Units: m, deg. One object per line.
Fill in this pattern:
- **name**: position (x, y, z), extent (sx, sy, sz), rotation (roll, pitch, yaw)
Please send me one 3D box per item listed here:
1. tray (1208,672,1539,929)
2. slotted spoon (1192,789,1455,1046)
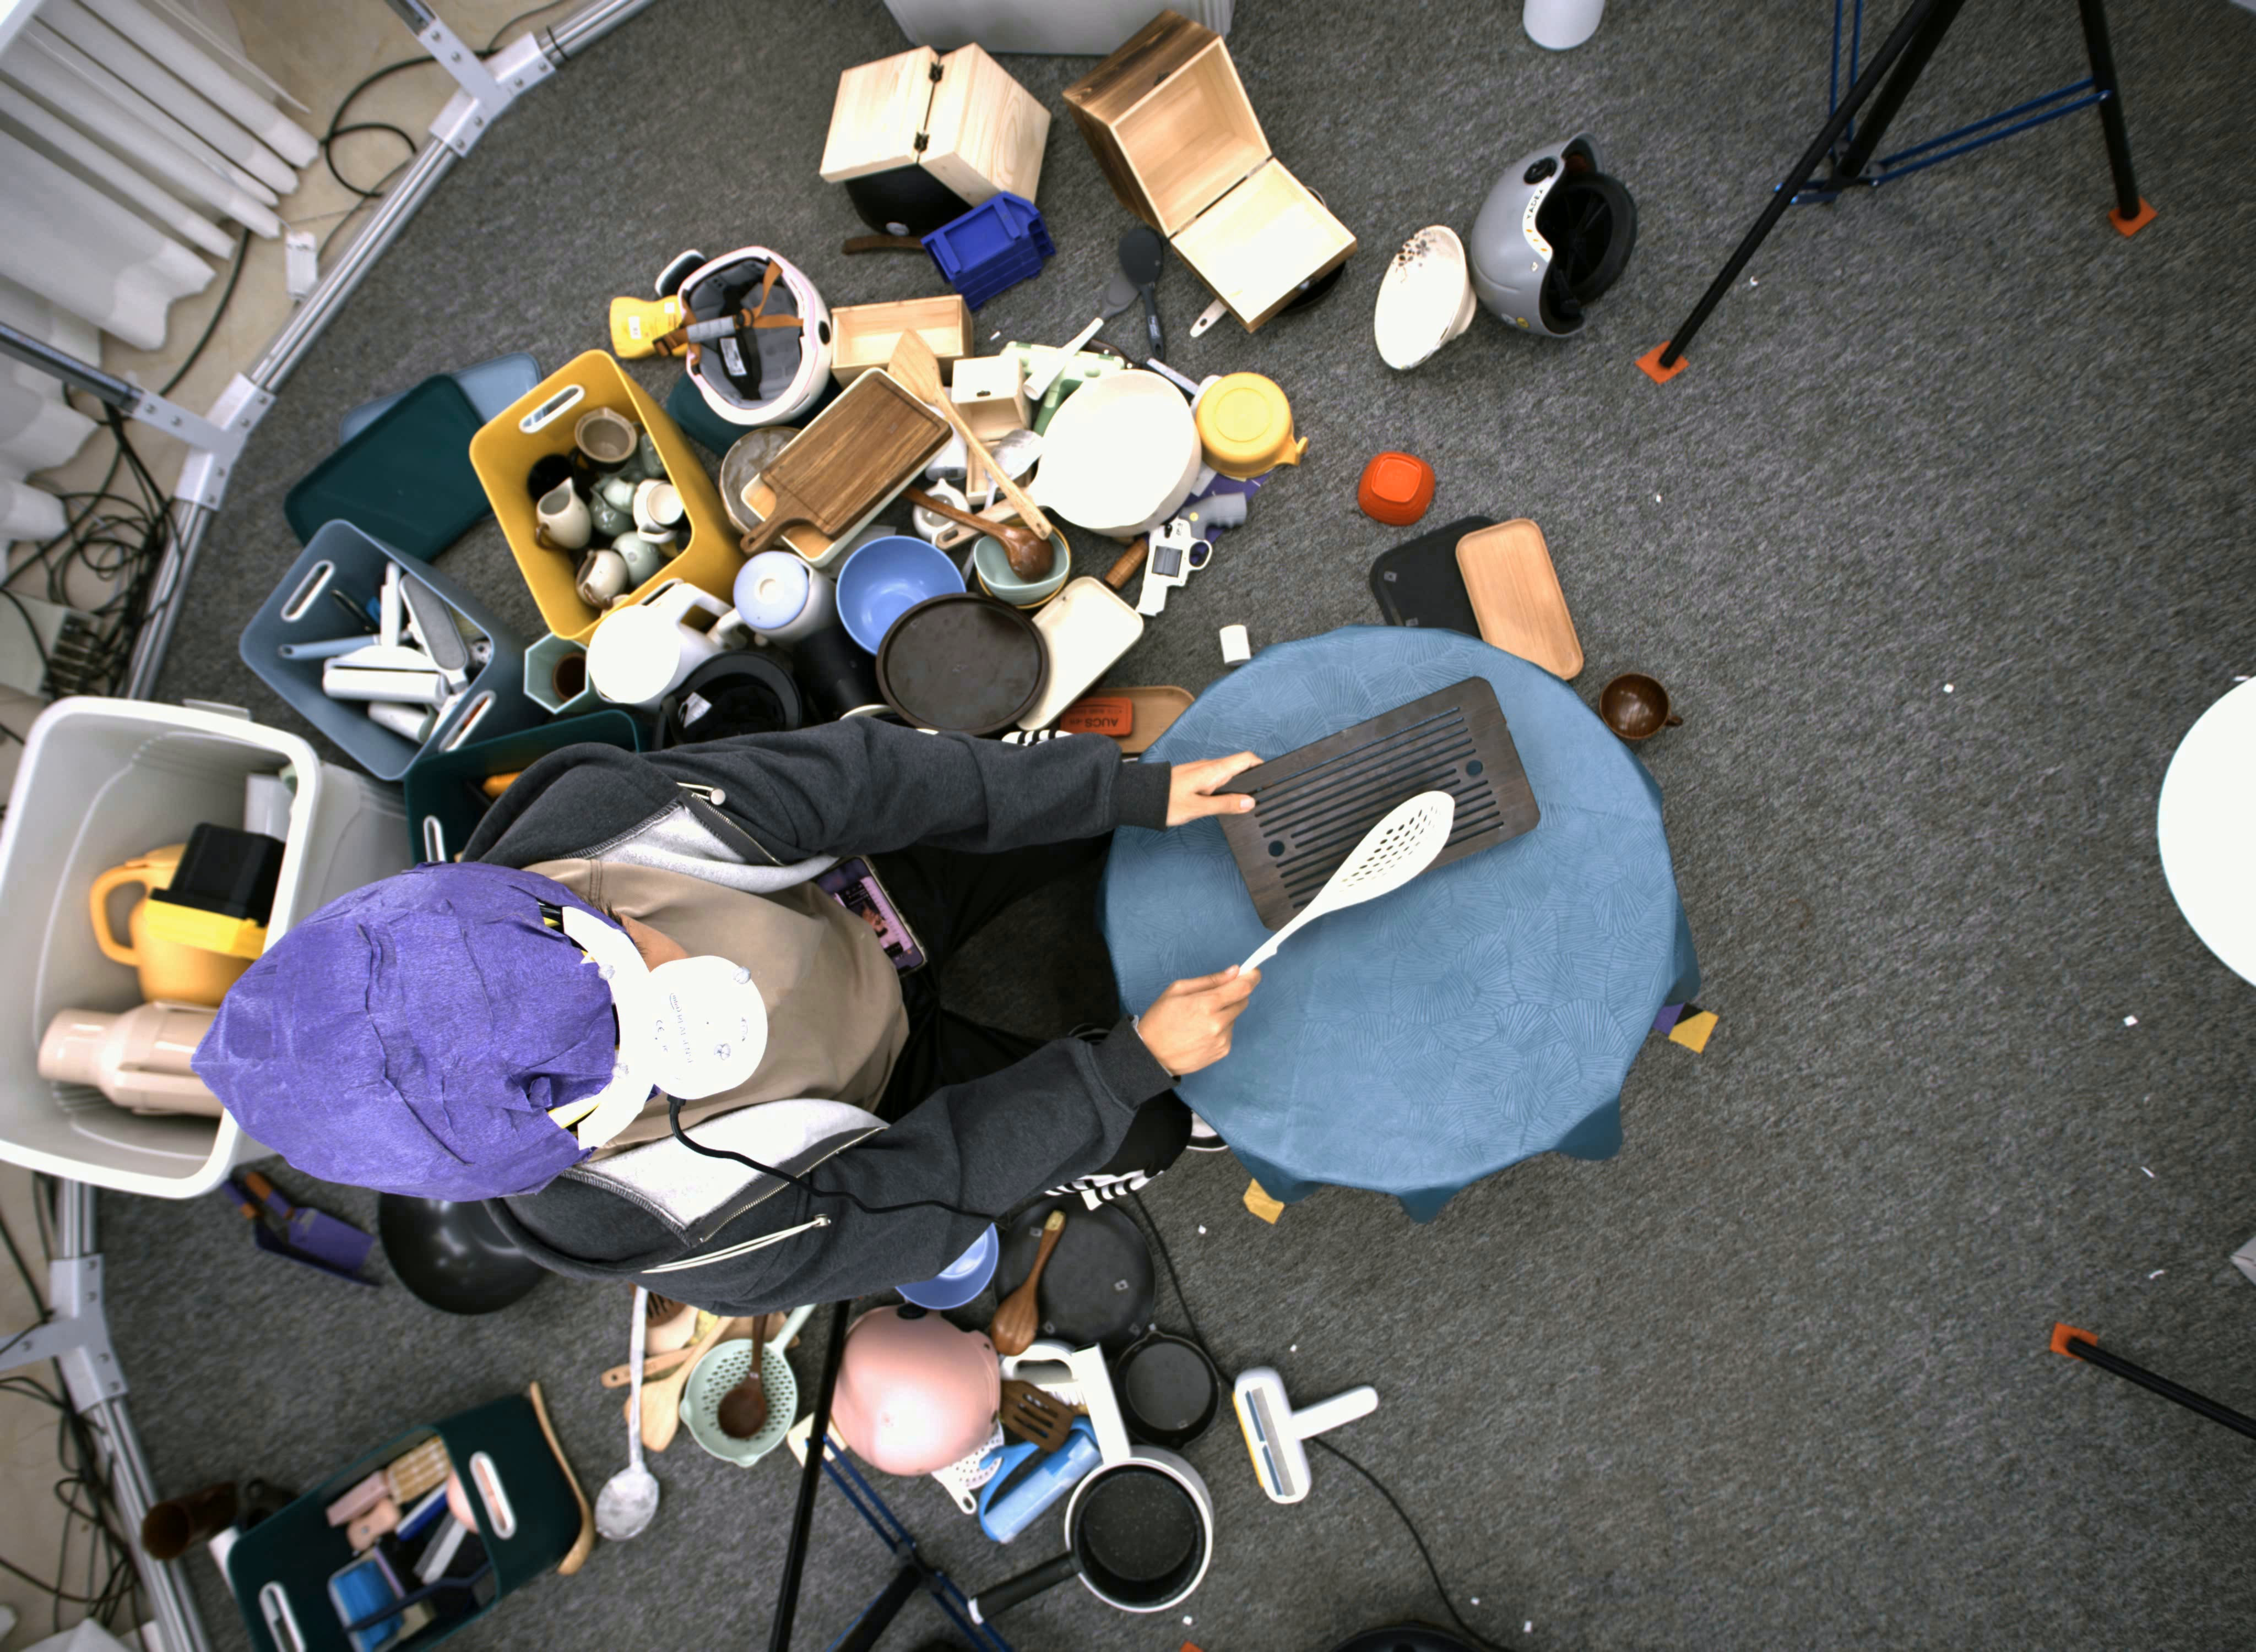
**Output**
- **tray**: position (0.249, -0.025, 1.404), extent (0.308, 0.018, 0.171), rotation (-22, 102, 9)
- **slotted spoon**: position (0.186, 0.090, 1.353), extent (0.349, 0.135, 0.050), rotation (-38, 104, 6)
